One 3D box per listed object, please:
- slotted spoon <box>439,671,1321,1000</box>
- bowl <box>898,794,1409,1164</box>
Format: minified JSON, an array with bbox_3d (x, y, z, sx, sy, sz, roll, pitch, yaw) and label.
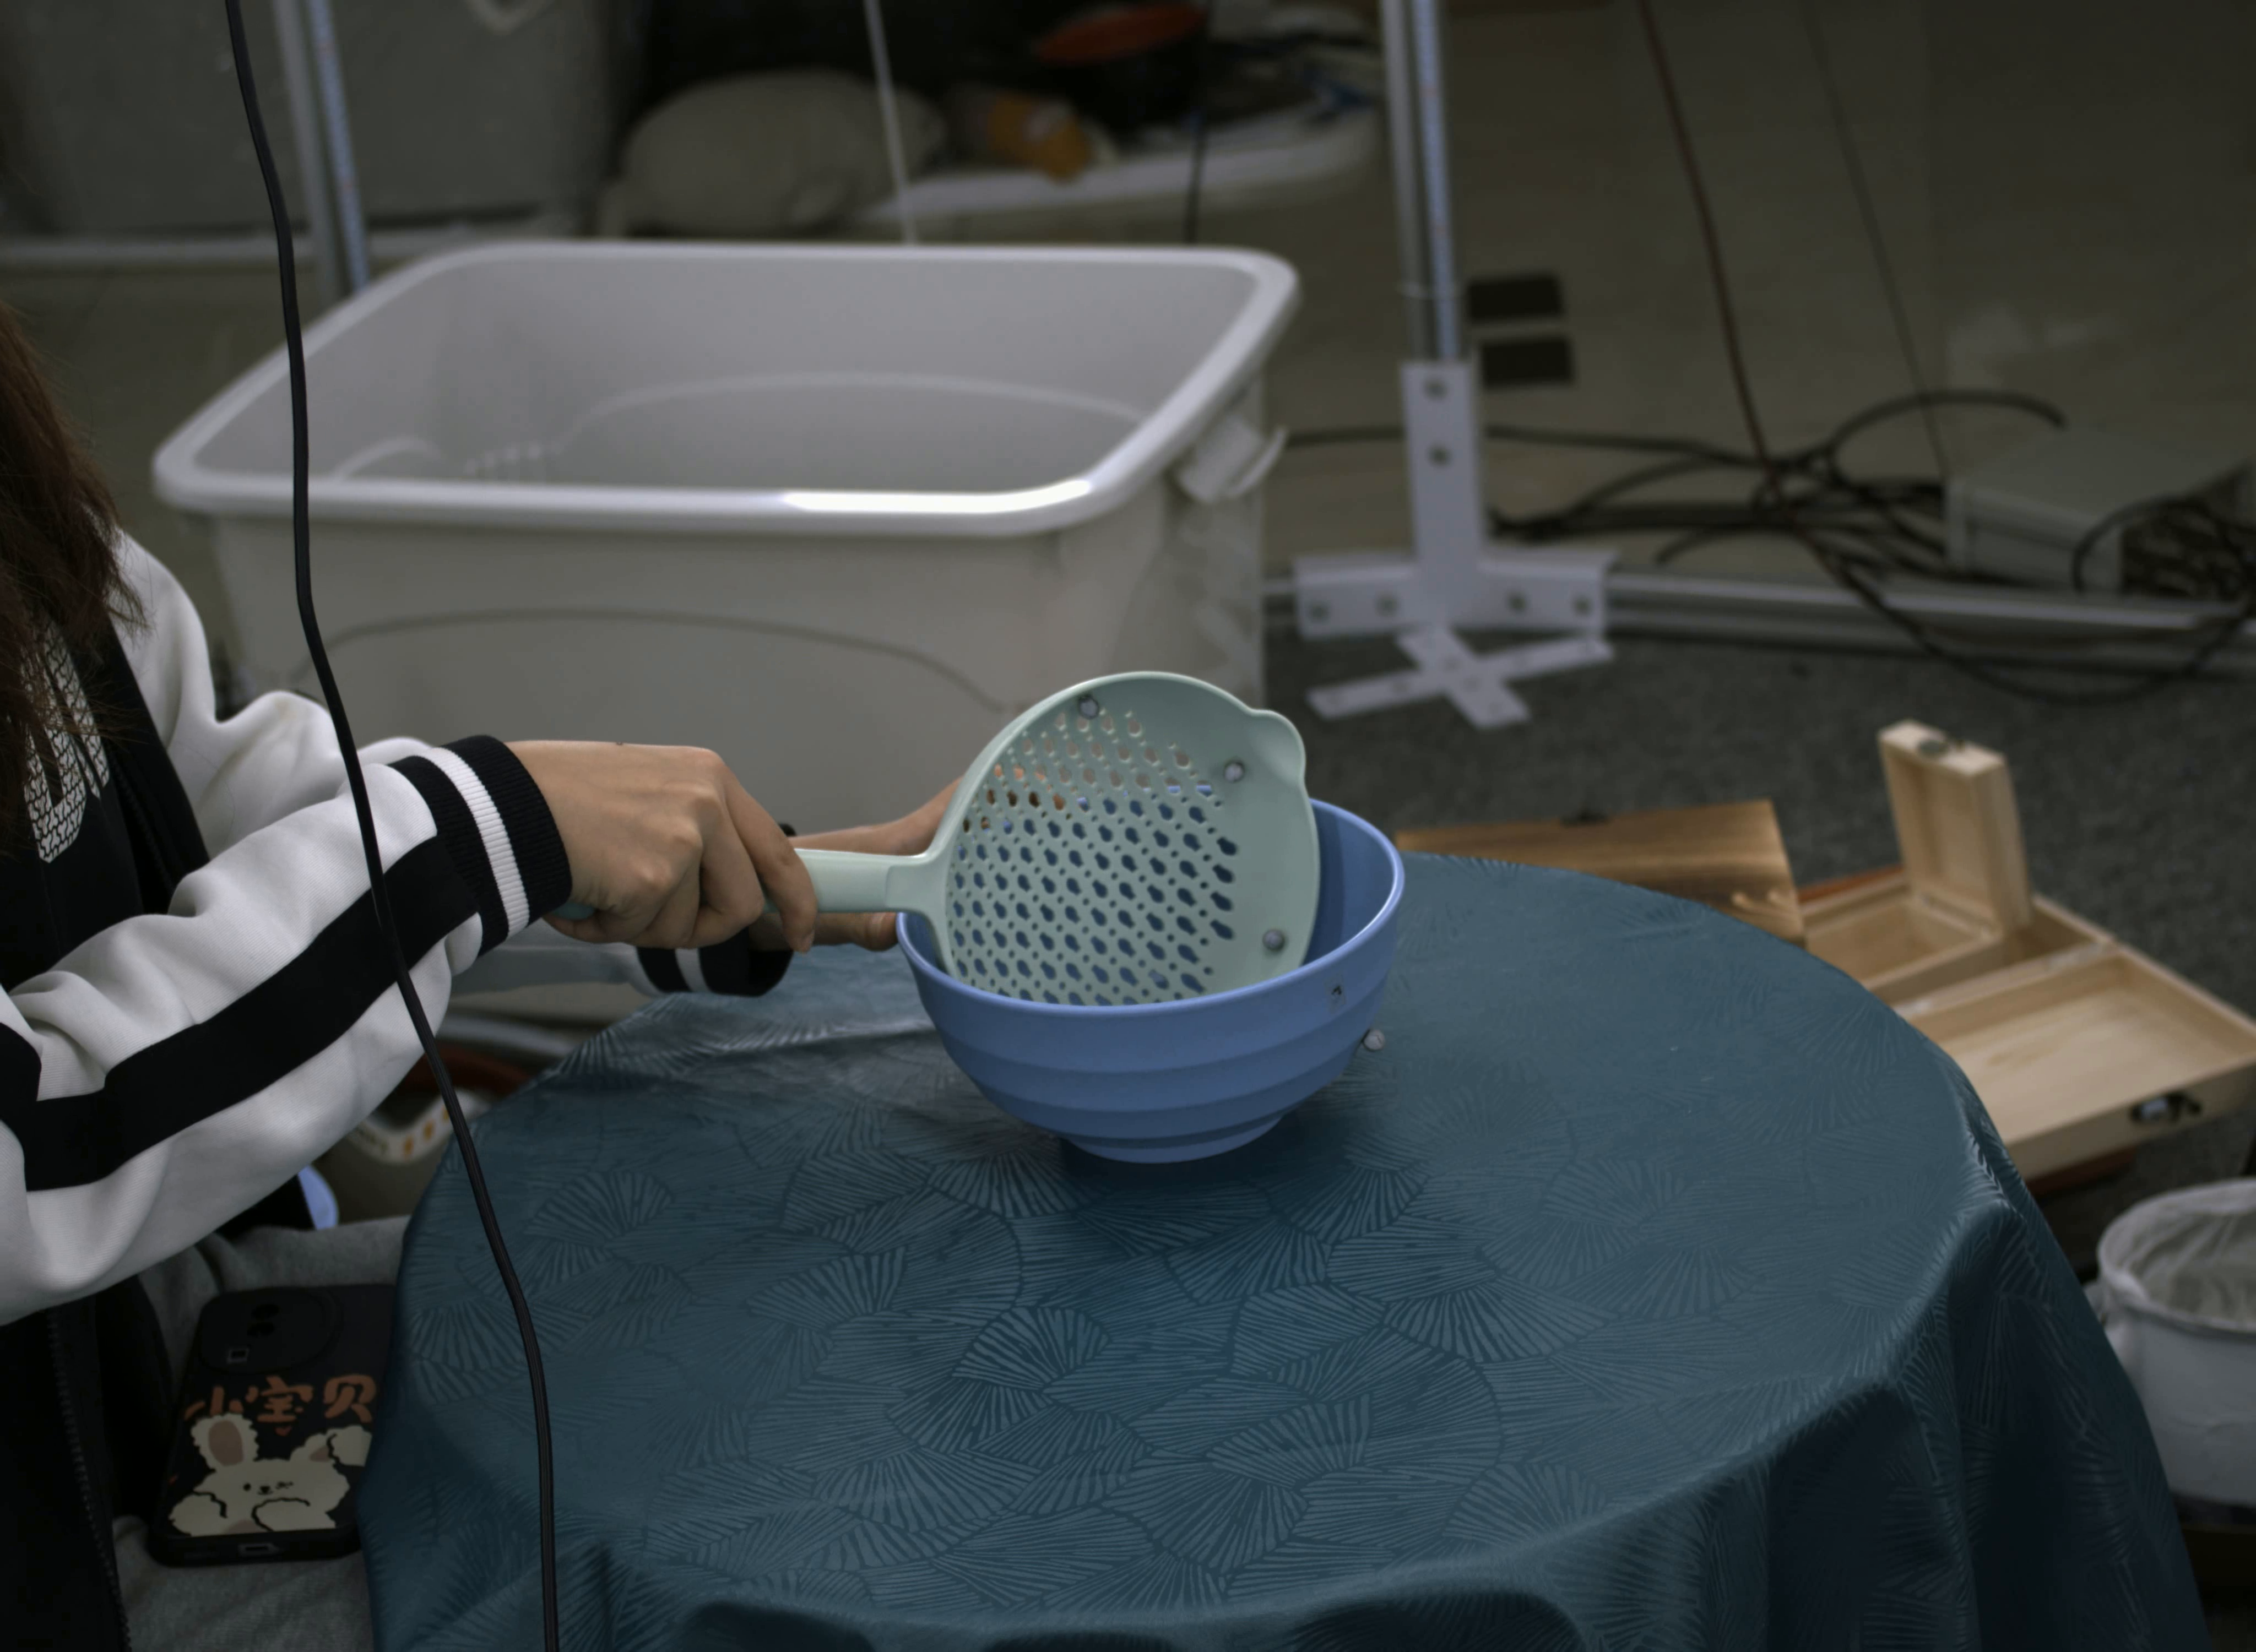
[{"bbox_3d":[-0.087,0.020,2.127,0.359,0.170,0.075,1,8,-39],"label":"slotted spoon"},{"bbox_3d":[0.014,0.068,2.184,0.196,0.097,0.193,-5,26,3],"label":"bowl"}]
